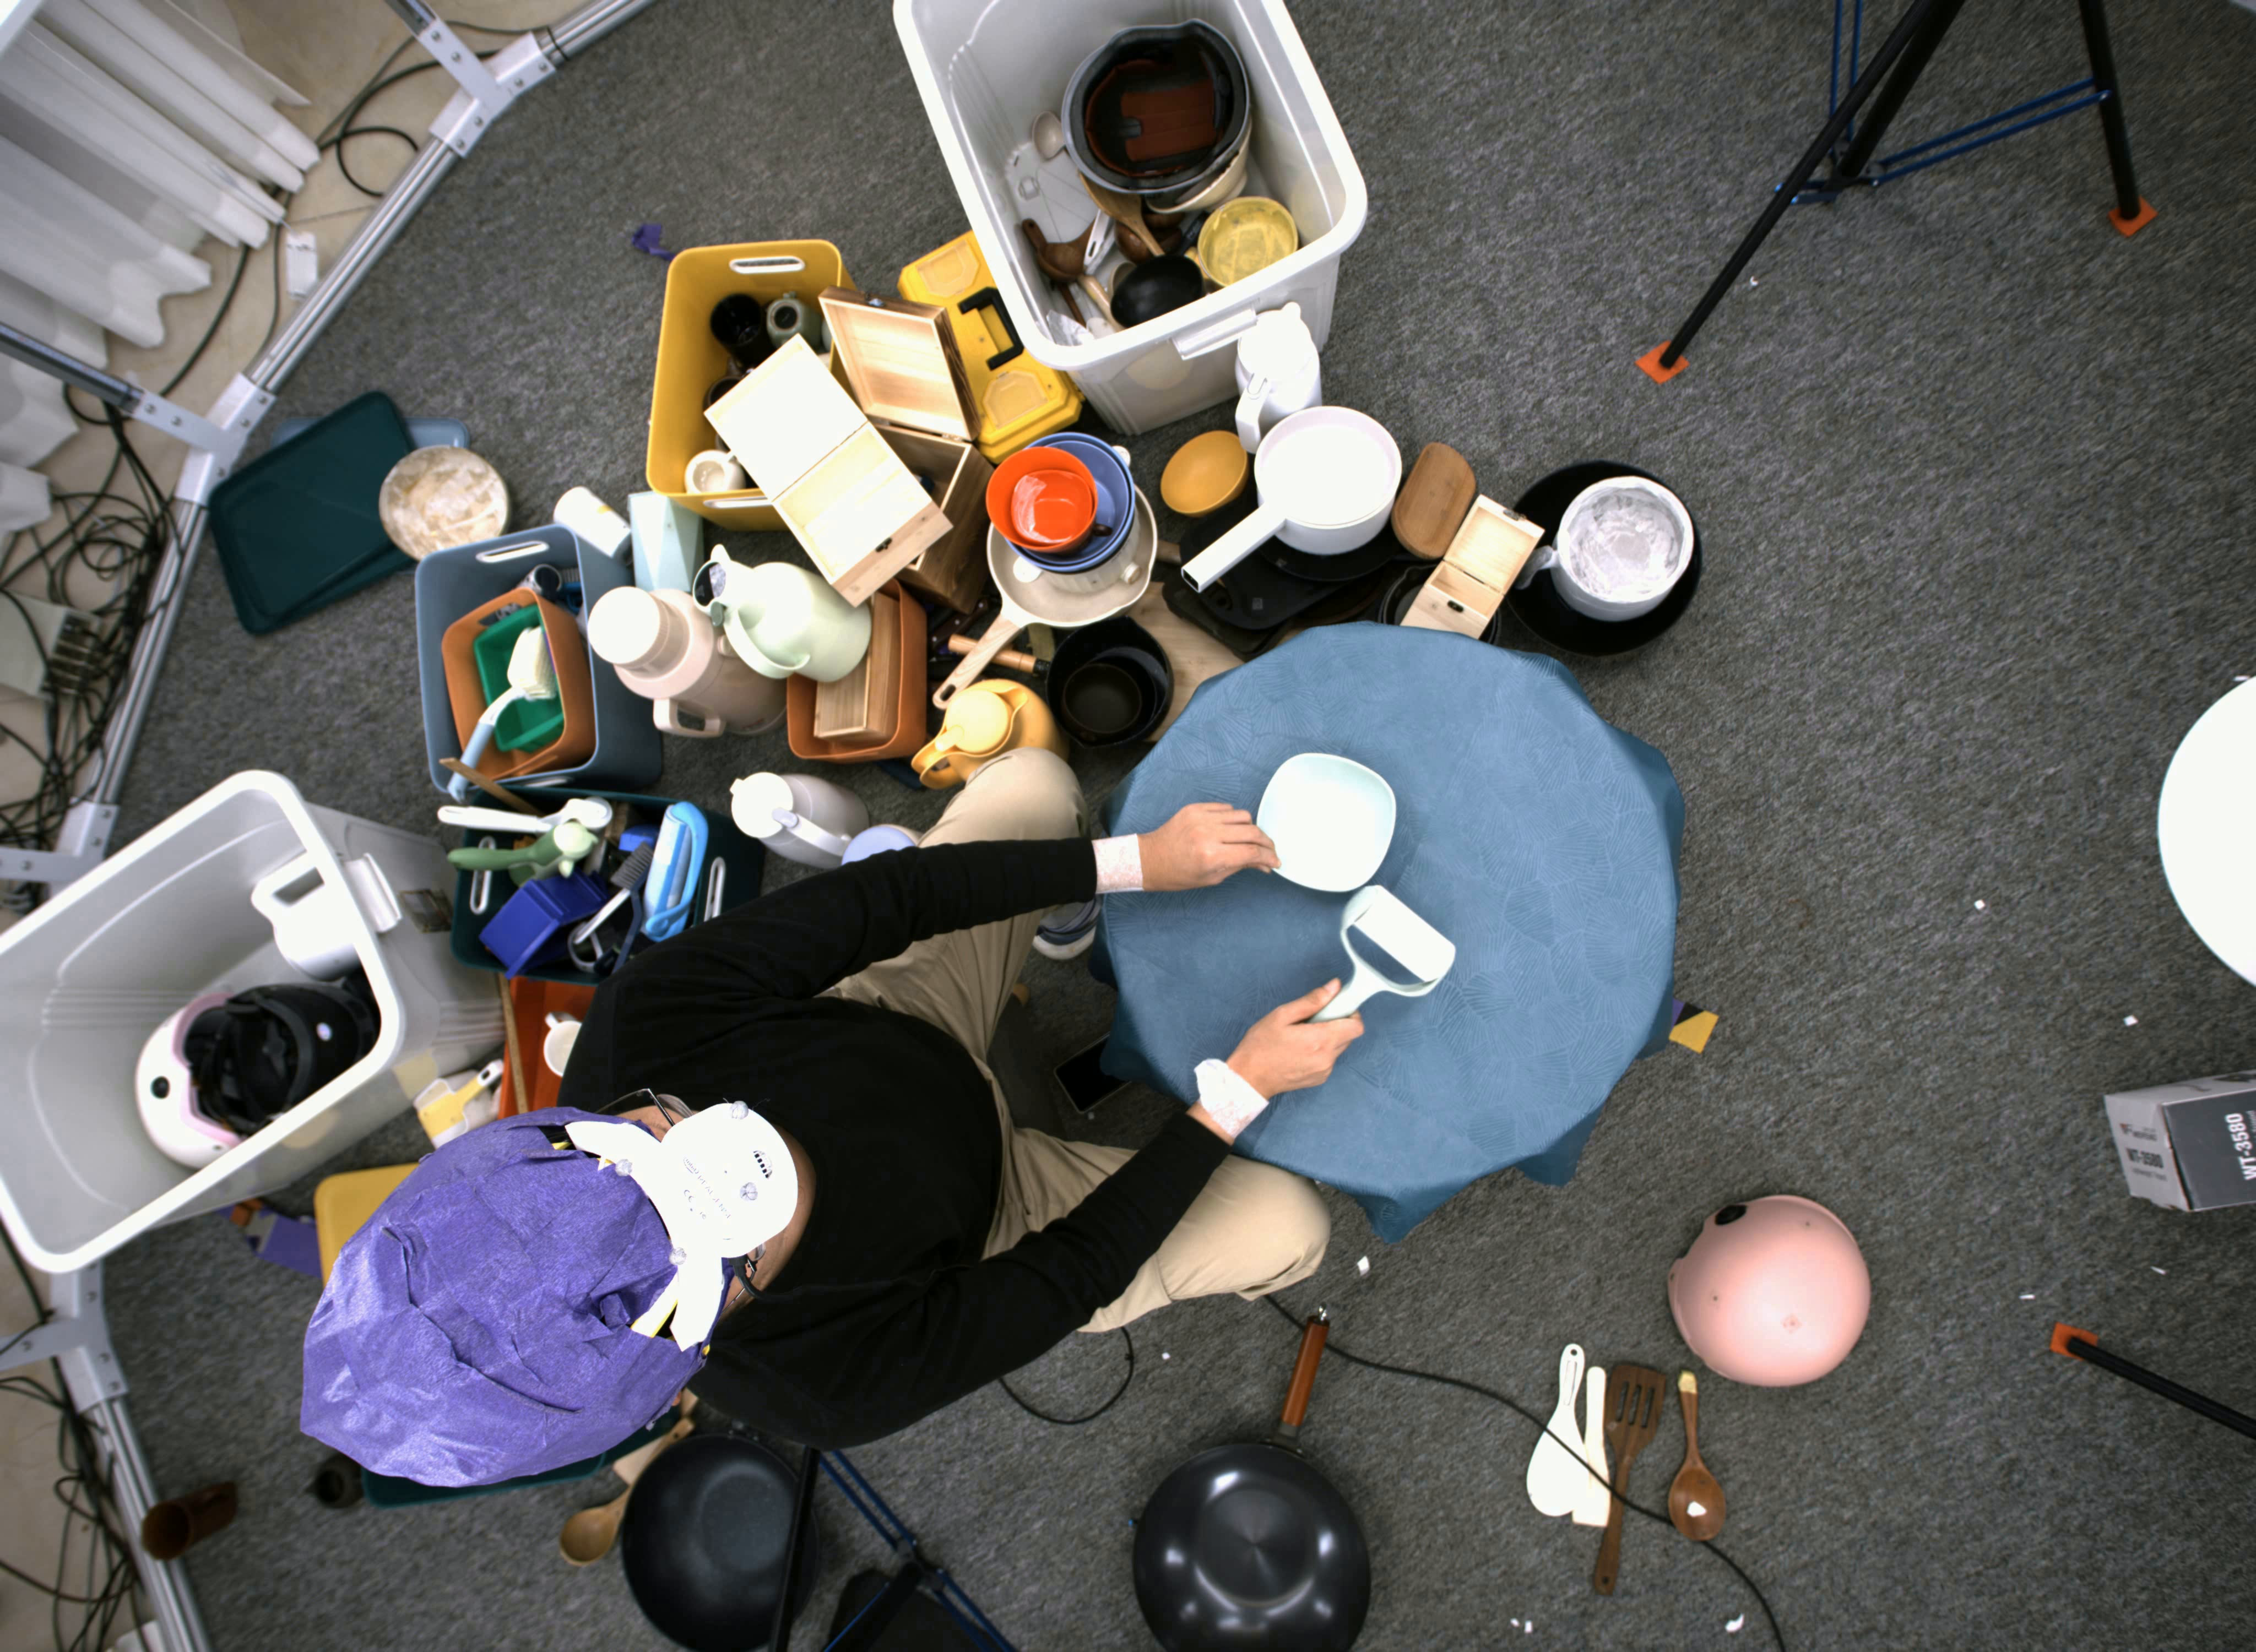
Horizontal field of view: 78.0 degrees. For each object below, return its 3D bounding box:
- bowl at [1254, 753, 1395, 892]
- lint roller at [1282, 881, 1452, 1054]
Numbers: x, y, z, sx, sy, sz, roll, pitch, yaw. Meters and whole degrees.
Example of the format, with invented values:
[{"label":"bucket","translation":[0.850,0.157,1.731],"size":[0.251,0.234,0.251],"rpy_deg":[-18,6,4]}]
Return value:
[{"label":"bowl","translation":[0.206,-0.001,1.448],"size":[0.152,0.059,0.150],"rpy_deg":[-1,85,9]},{"label":"lint roller","translation":[0.221,0.156,1.384],"size":[0.117,0.048,0.199],"rpy_deg":[37,103,-13]}]
